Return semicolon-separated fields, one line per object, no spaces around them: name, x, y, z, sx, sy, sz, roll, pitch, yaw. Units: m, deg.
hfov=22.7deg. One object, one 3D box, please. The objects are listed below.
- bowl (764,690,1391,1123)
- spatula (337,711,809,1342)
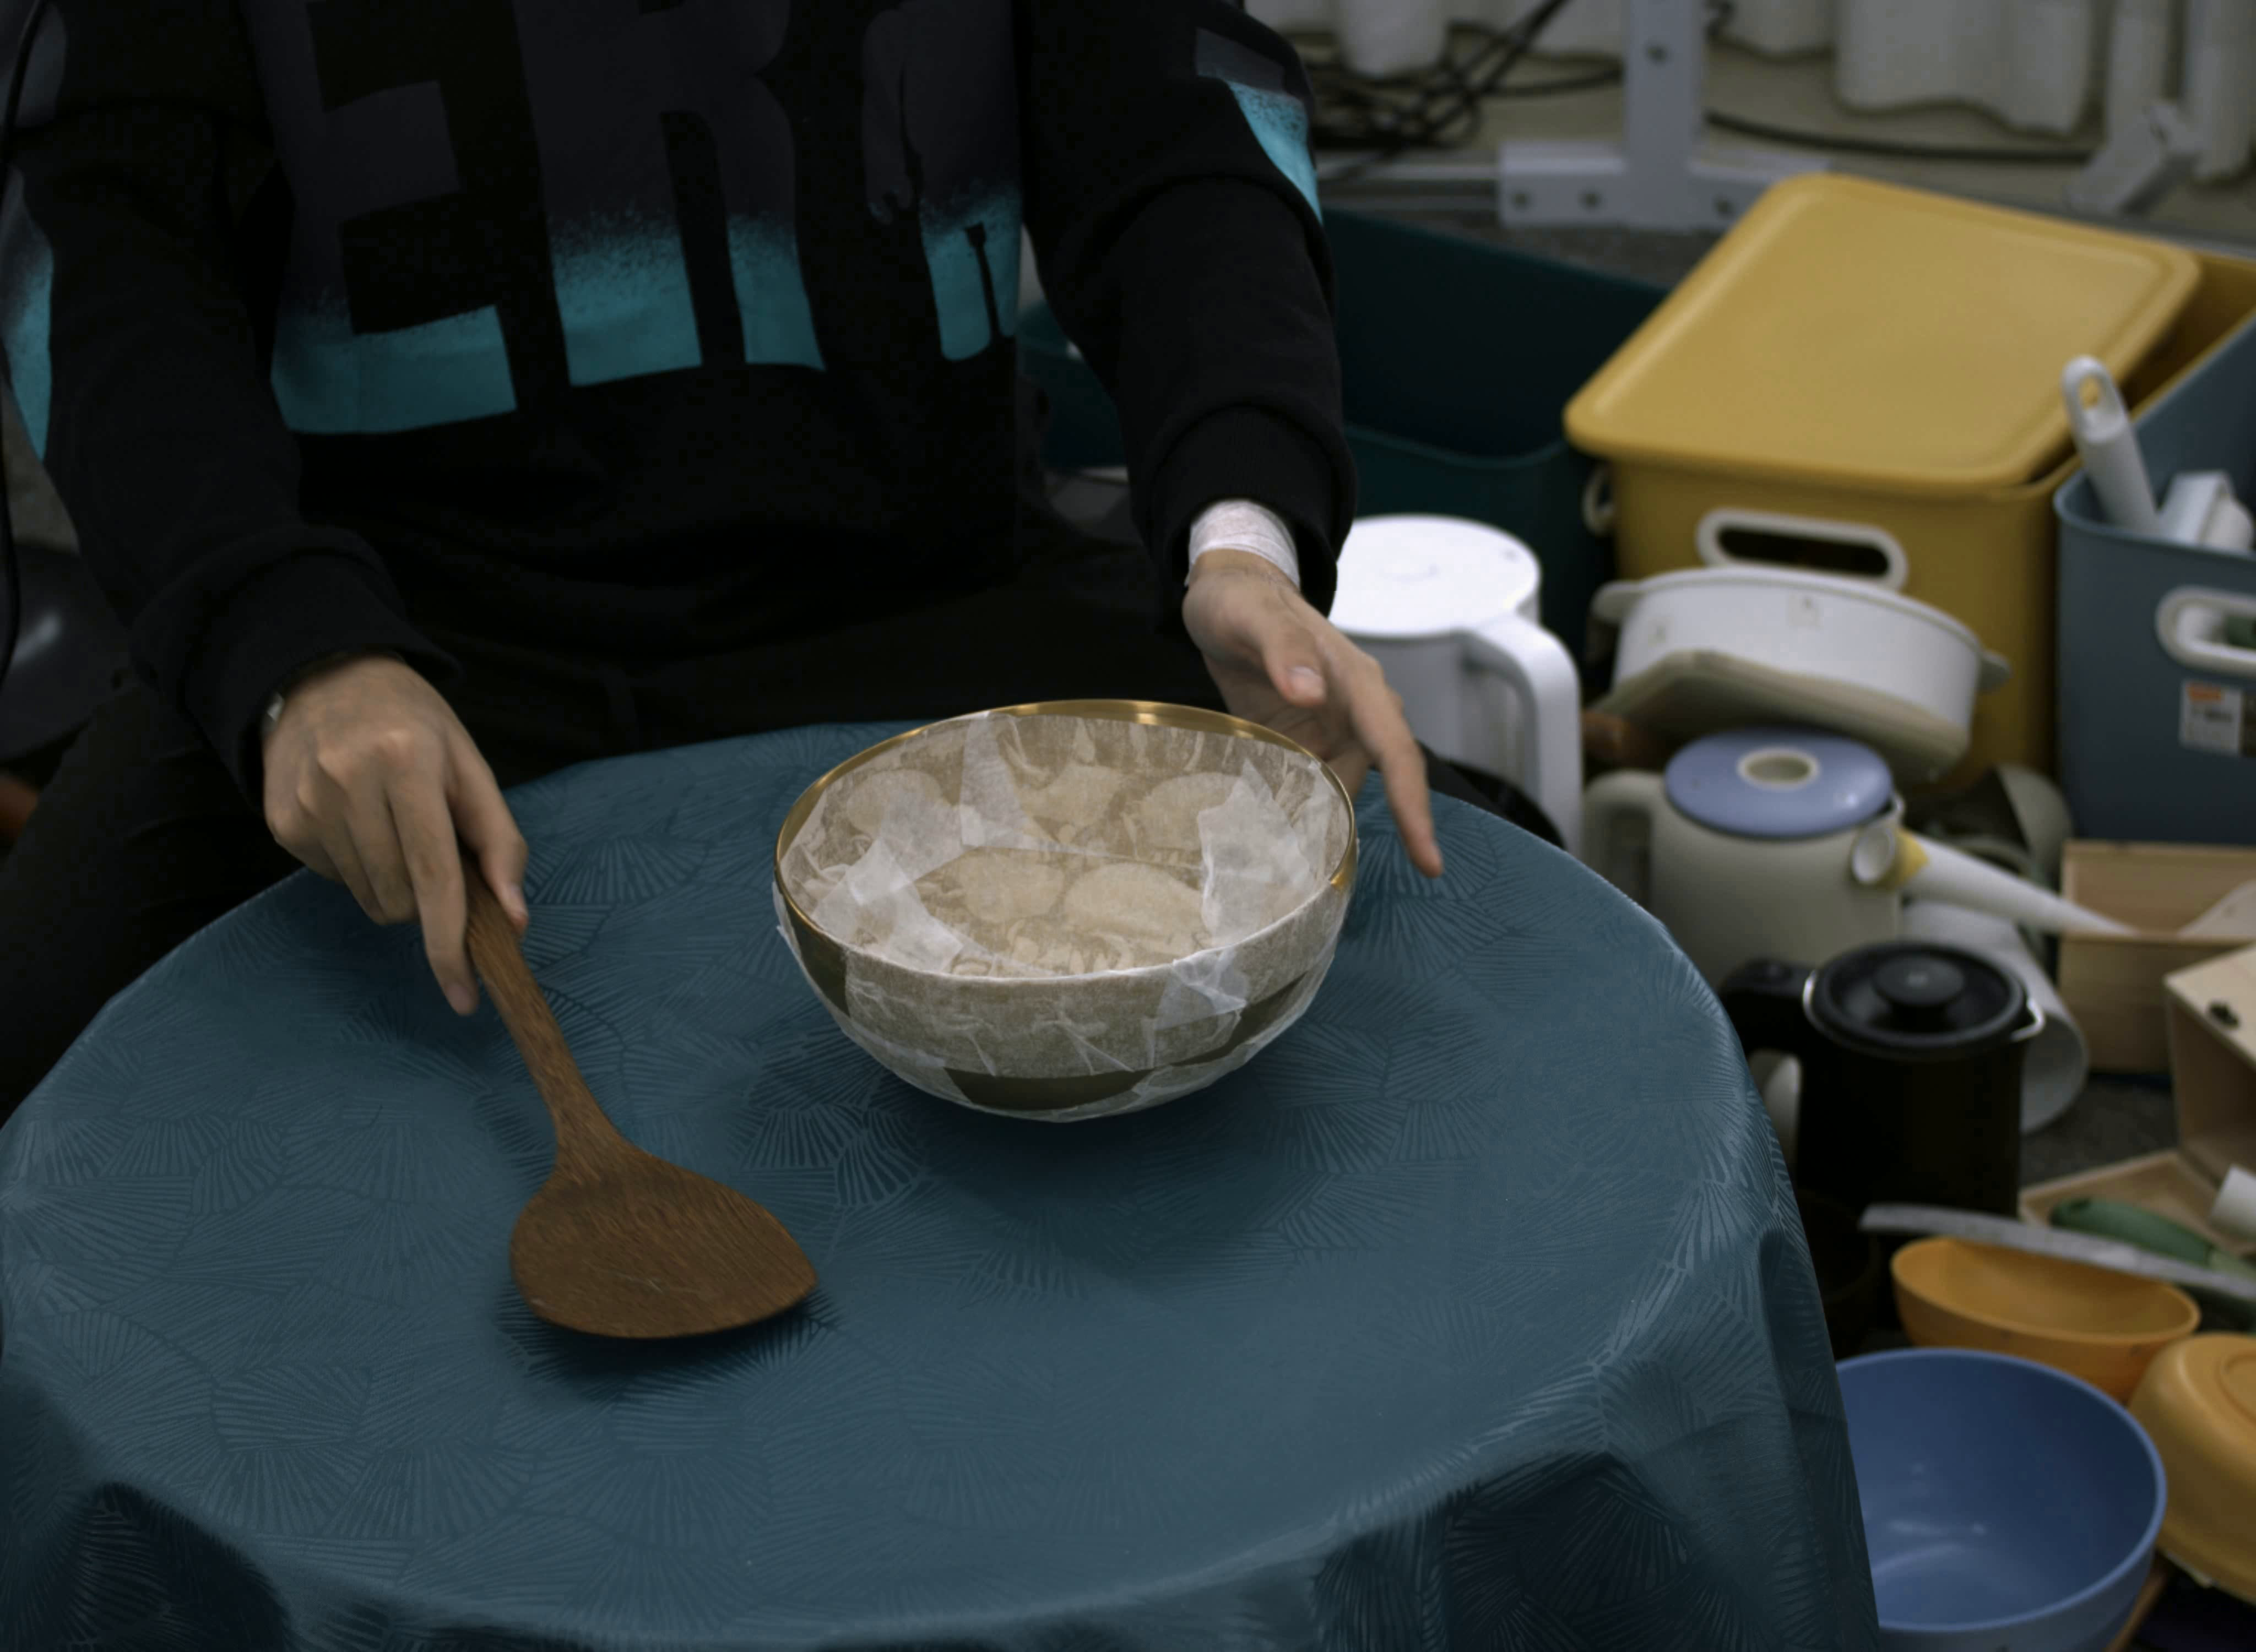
bowl;-0.016;0.040;1.921;0.213;0.093;0.218;-4;26;2
spatula;-0.210;0.060;1.921;0.096;0.015;0.390;-8;35;-21
